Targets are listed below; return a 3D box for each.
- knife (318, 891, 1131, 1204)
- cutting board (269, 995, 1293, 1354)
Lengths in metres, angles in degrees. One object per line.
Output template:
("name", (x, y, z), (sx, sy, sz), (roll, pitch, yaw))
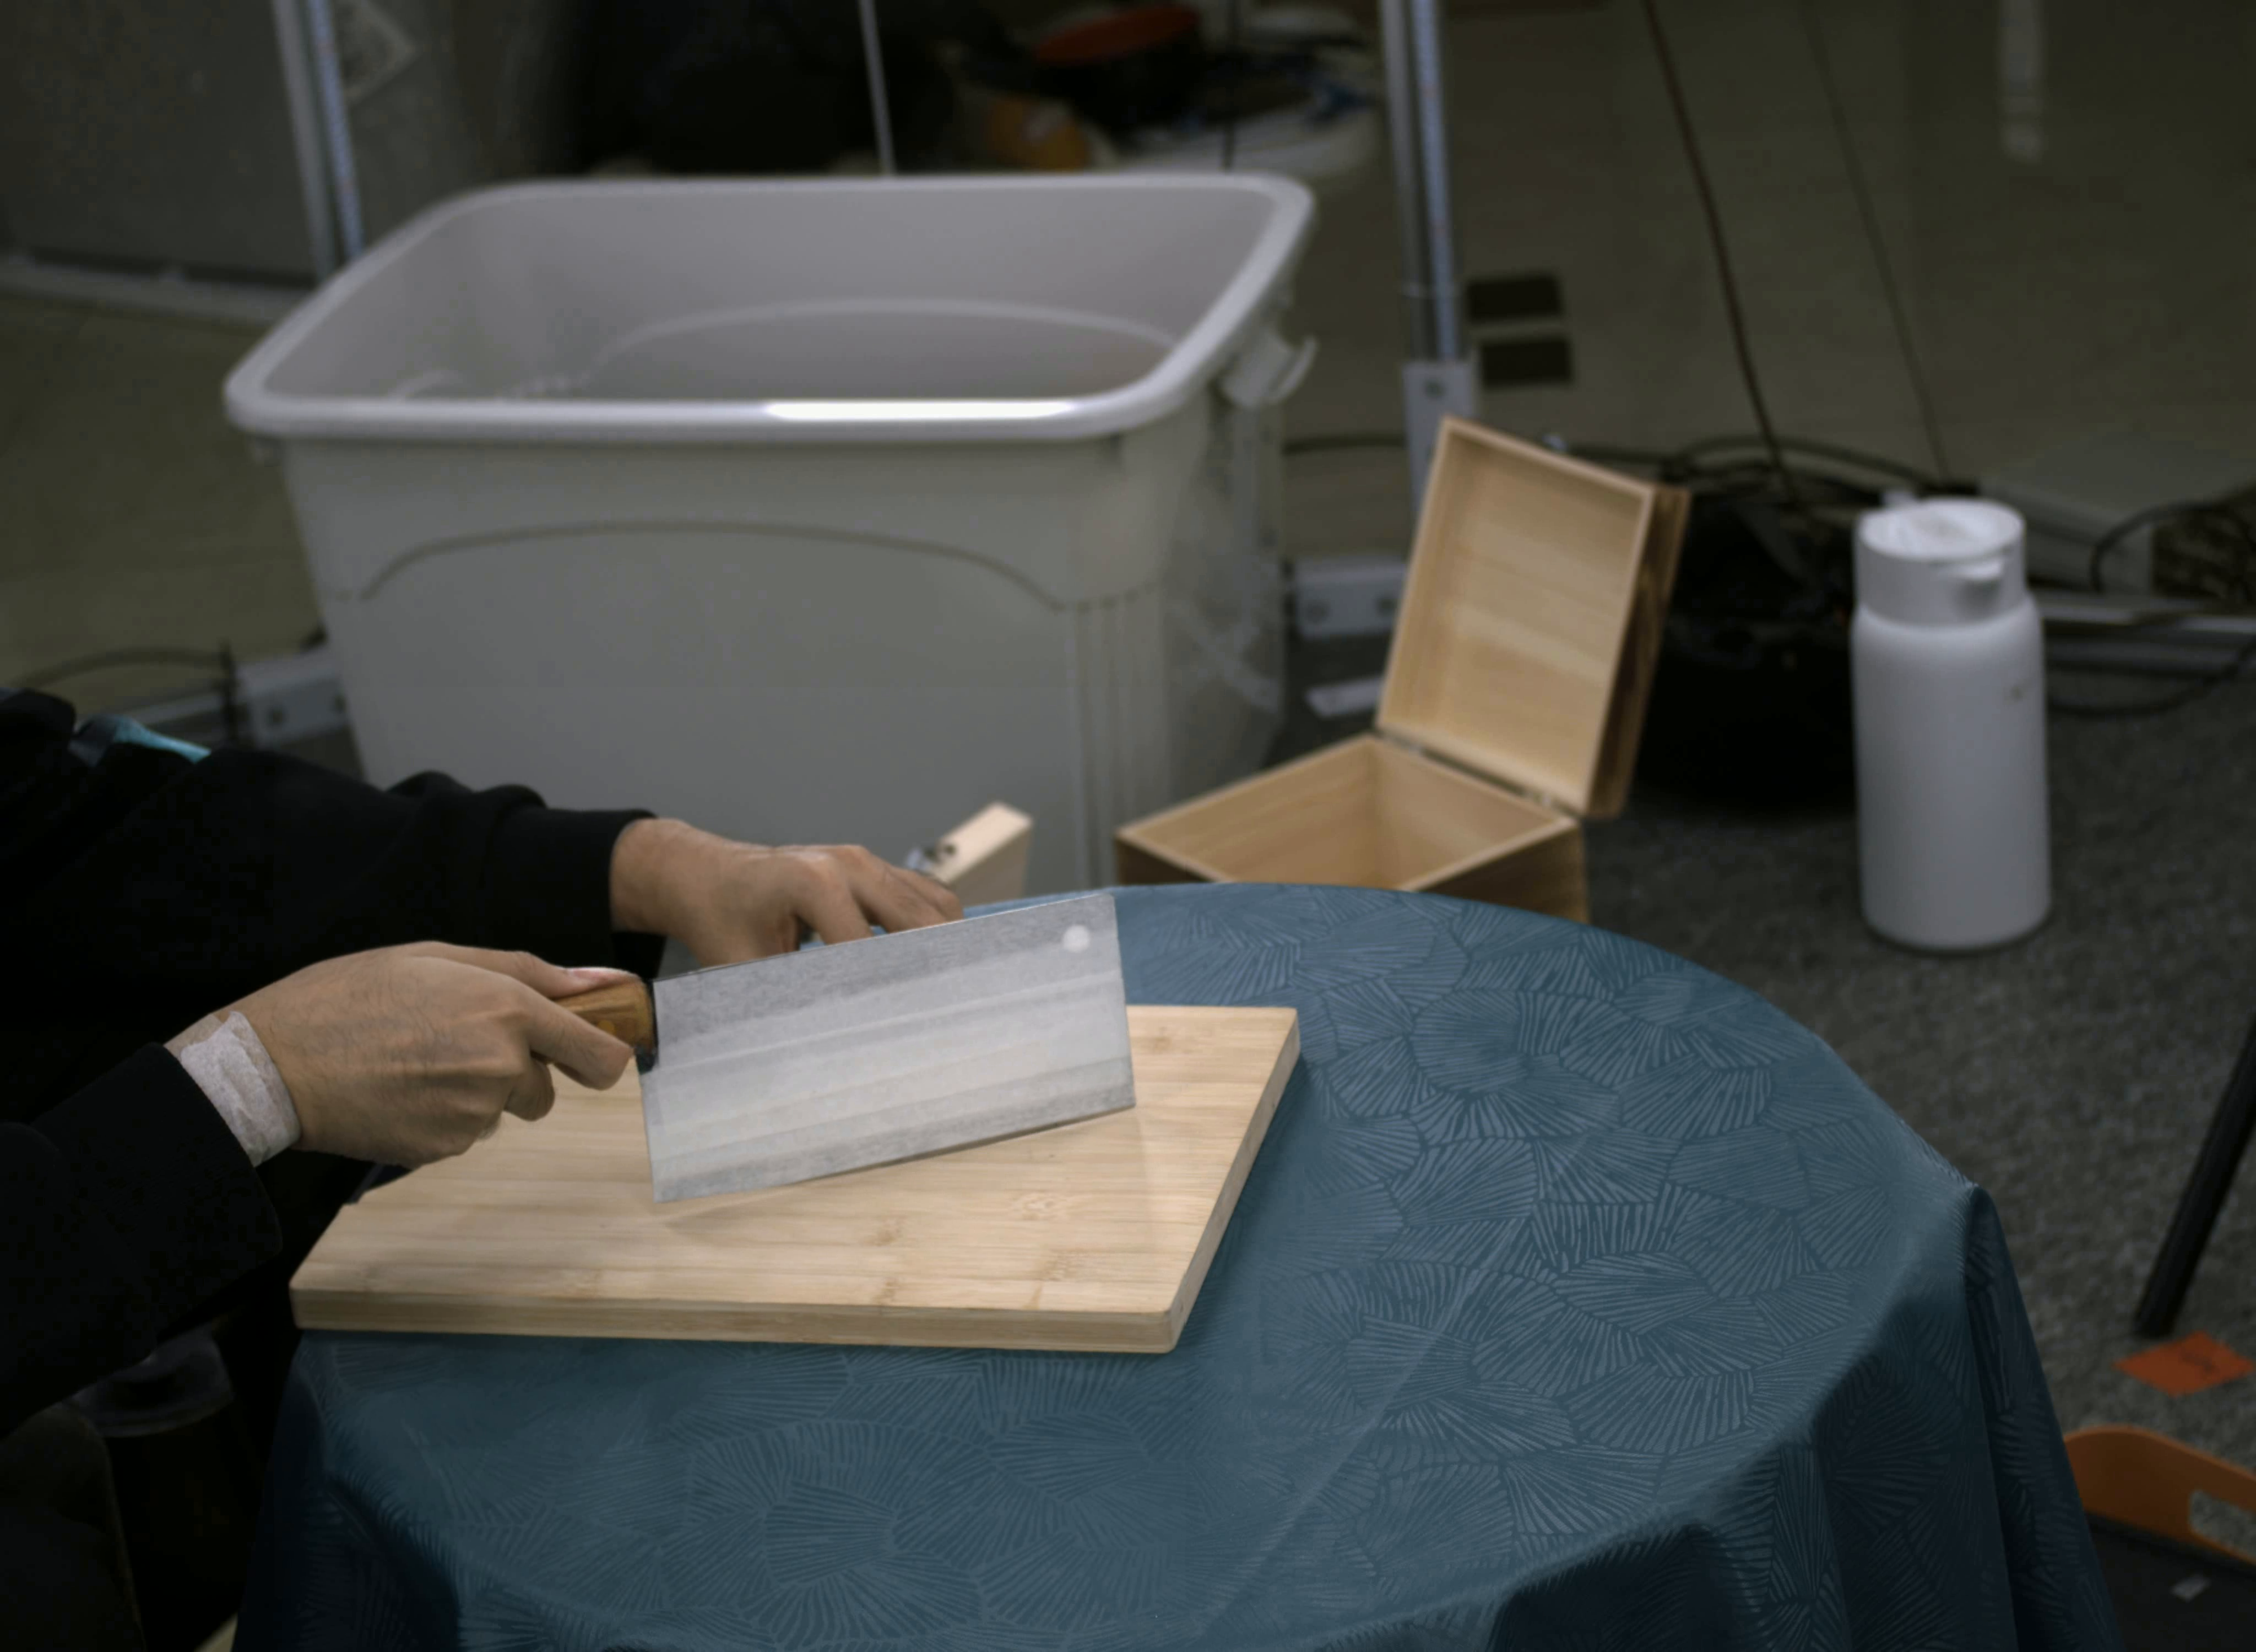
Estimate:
("knife", (-0.146, 0.092, 2.115), (0.305, 0.094, 0.021), (-11, 22, -13))
("cutting board", (-0.127, 0.130, 2.178), (0.348, 0.024, 0.247), (0, 26, 13))
